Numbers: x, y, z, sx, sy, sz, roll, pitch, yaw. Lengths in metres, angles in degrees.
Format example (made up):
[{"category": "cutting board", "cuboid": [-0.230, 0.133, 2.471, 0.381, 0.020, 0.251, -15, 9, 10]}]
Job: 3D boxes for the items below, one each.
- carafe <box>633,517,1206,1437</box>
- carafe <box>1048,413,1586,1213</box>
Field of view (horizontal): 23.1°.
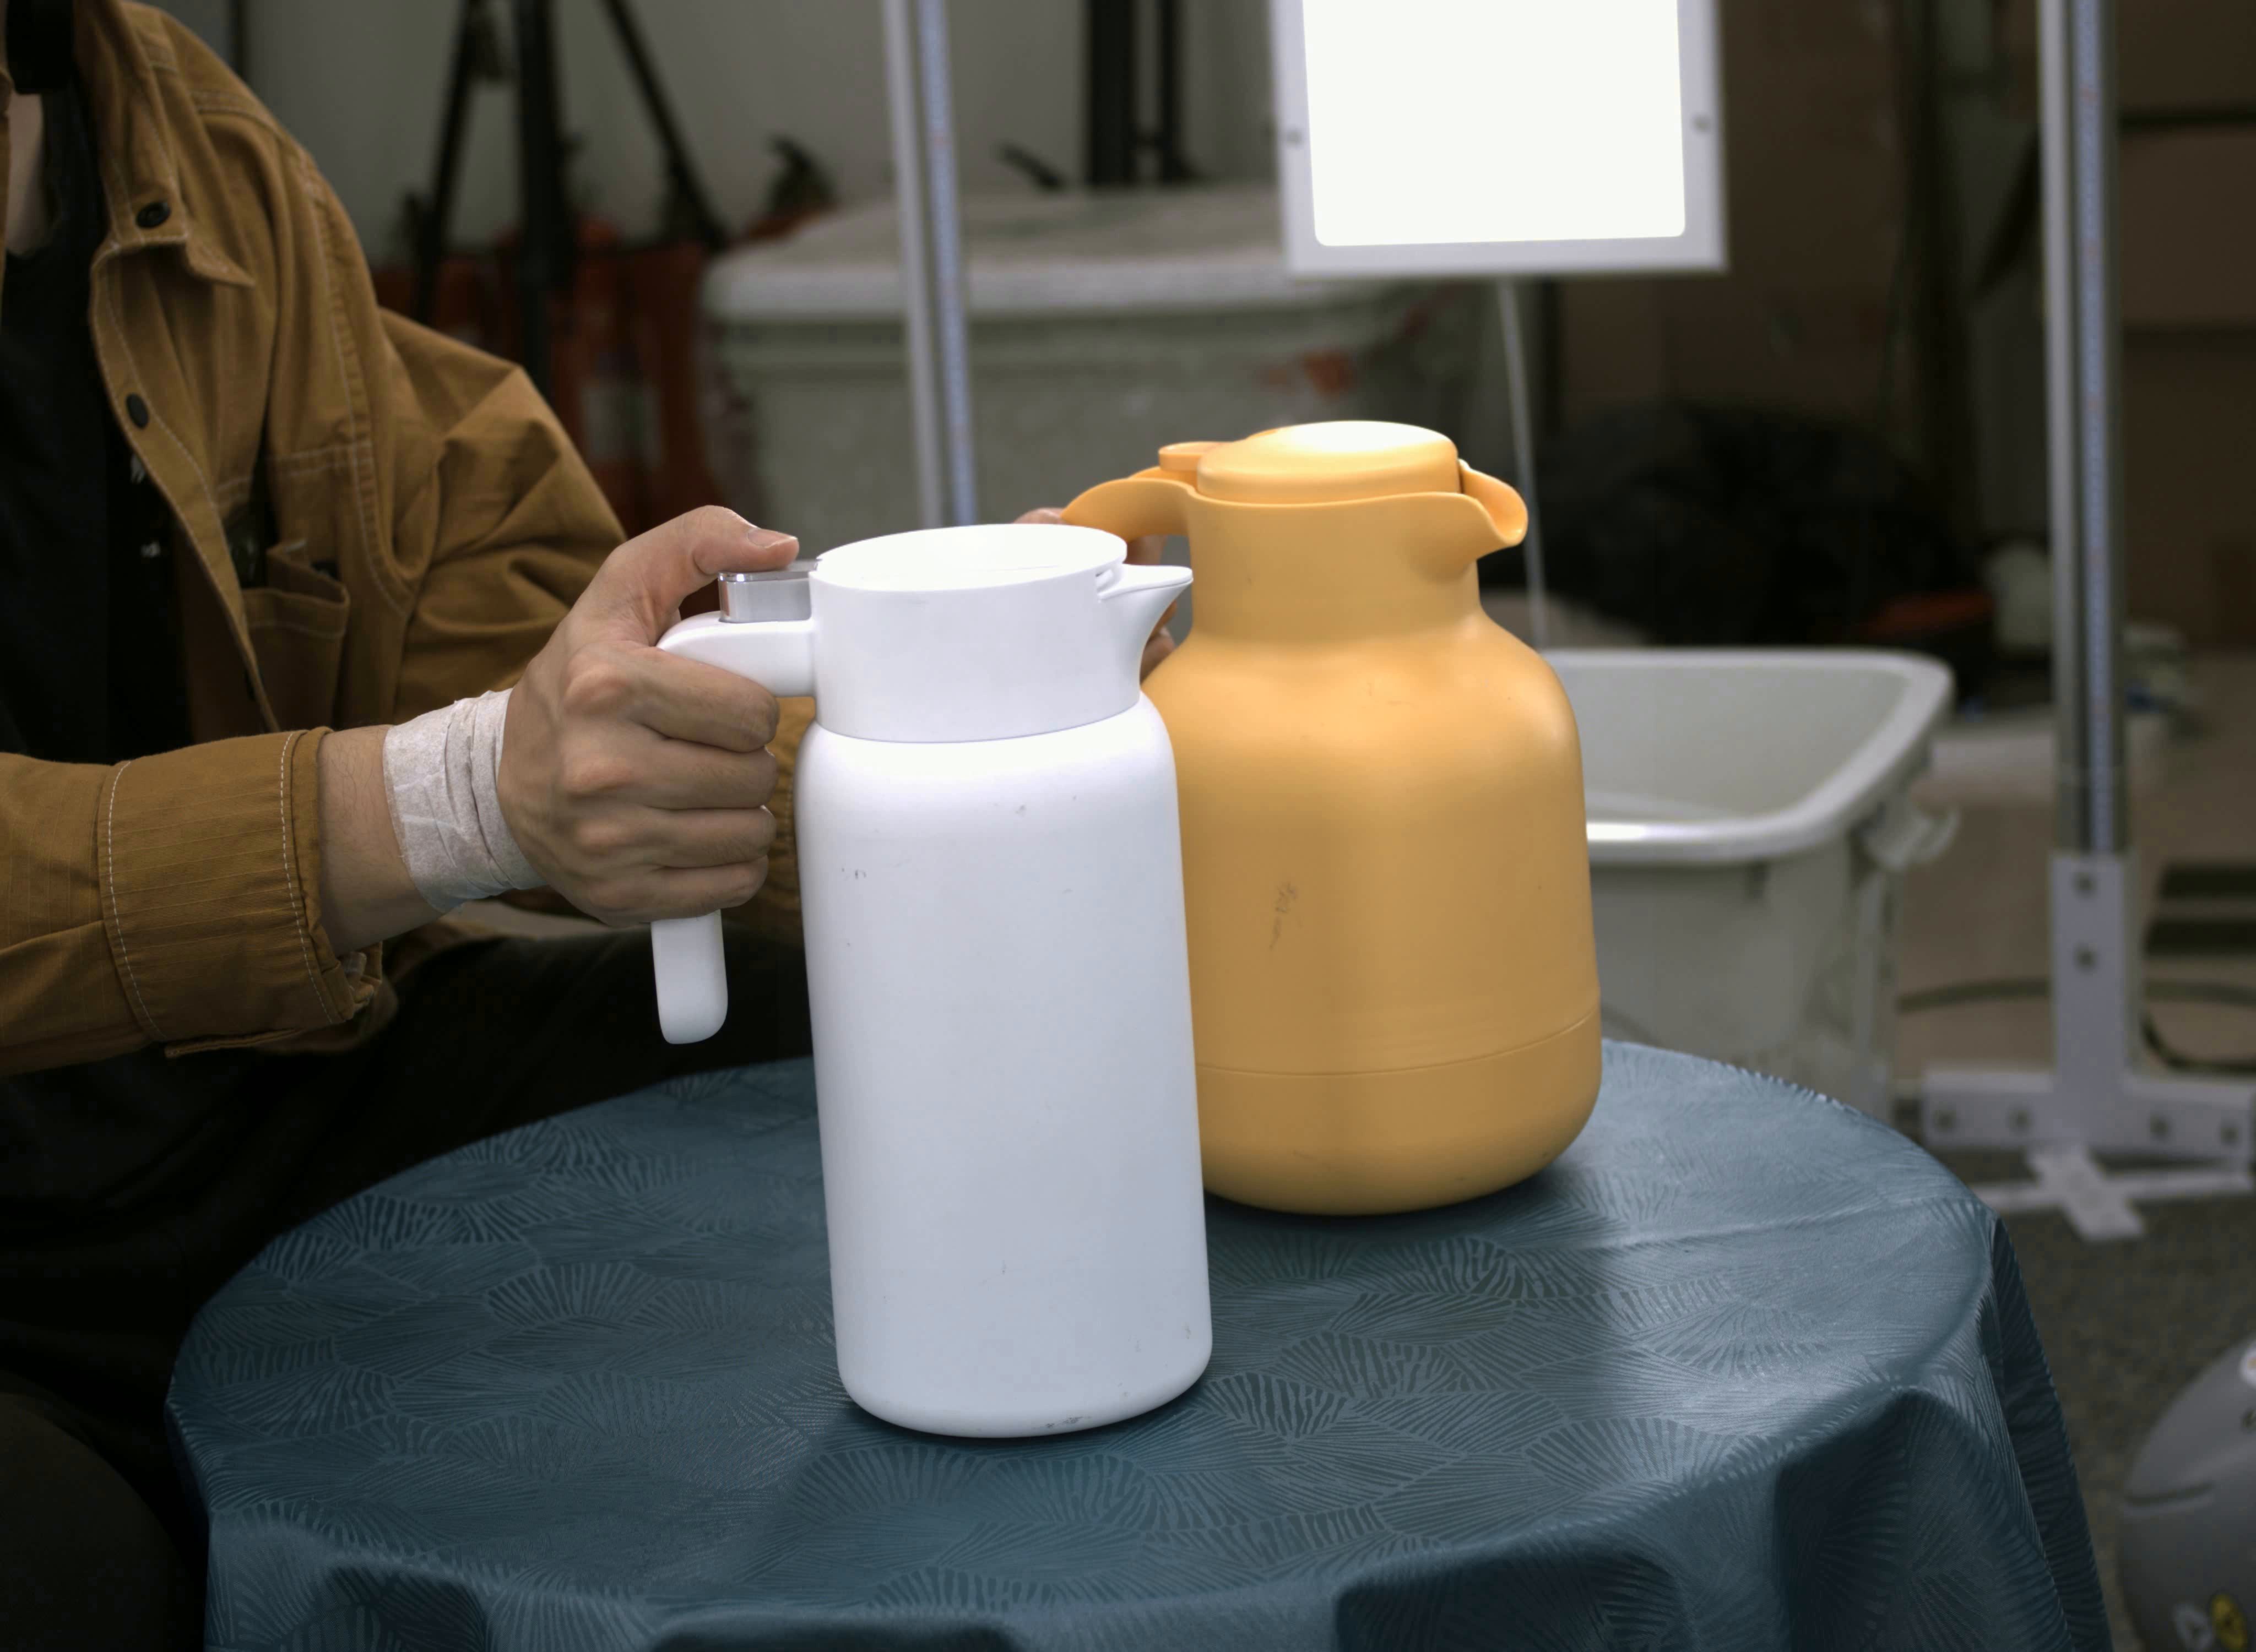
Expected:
[{"category": "carafe", "cuboid": [-0.058, 0.046, 1.684, 0.173, 0.270, 0.123, -3, 16, 6]}, {"category": "carafe", "cuboid": [0.059, -0.011, 1.881, 0.206, 0.261, 0.159, 9, 16, 39]}]
